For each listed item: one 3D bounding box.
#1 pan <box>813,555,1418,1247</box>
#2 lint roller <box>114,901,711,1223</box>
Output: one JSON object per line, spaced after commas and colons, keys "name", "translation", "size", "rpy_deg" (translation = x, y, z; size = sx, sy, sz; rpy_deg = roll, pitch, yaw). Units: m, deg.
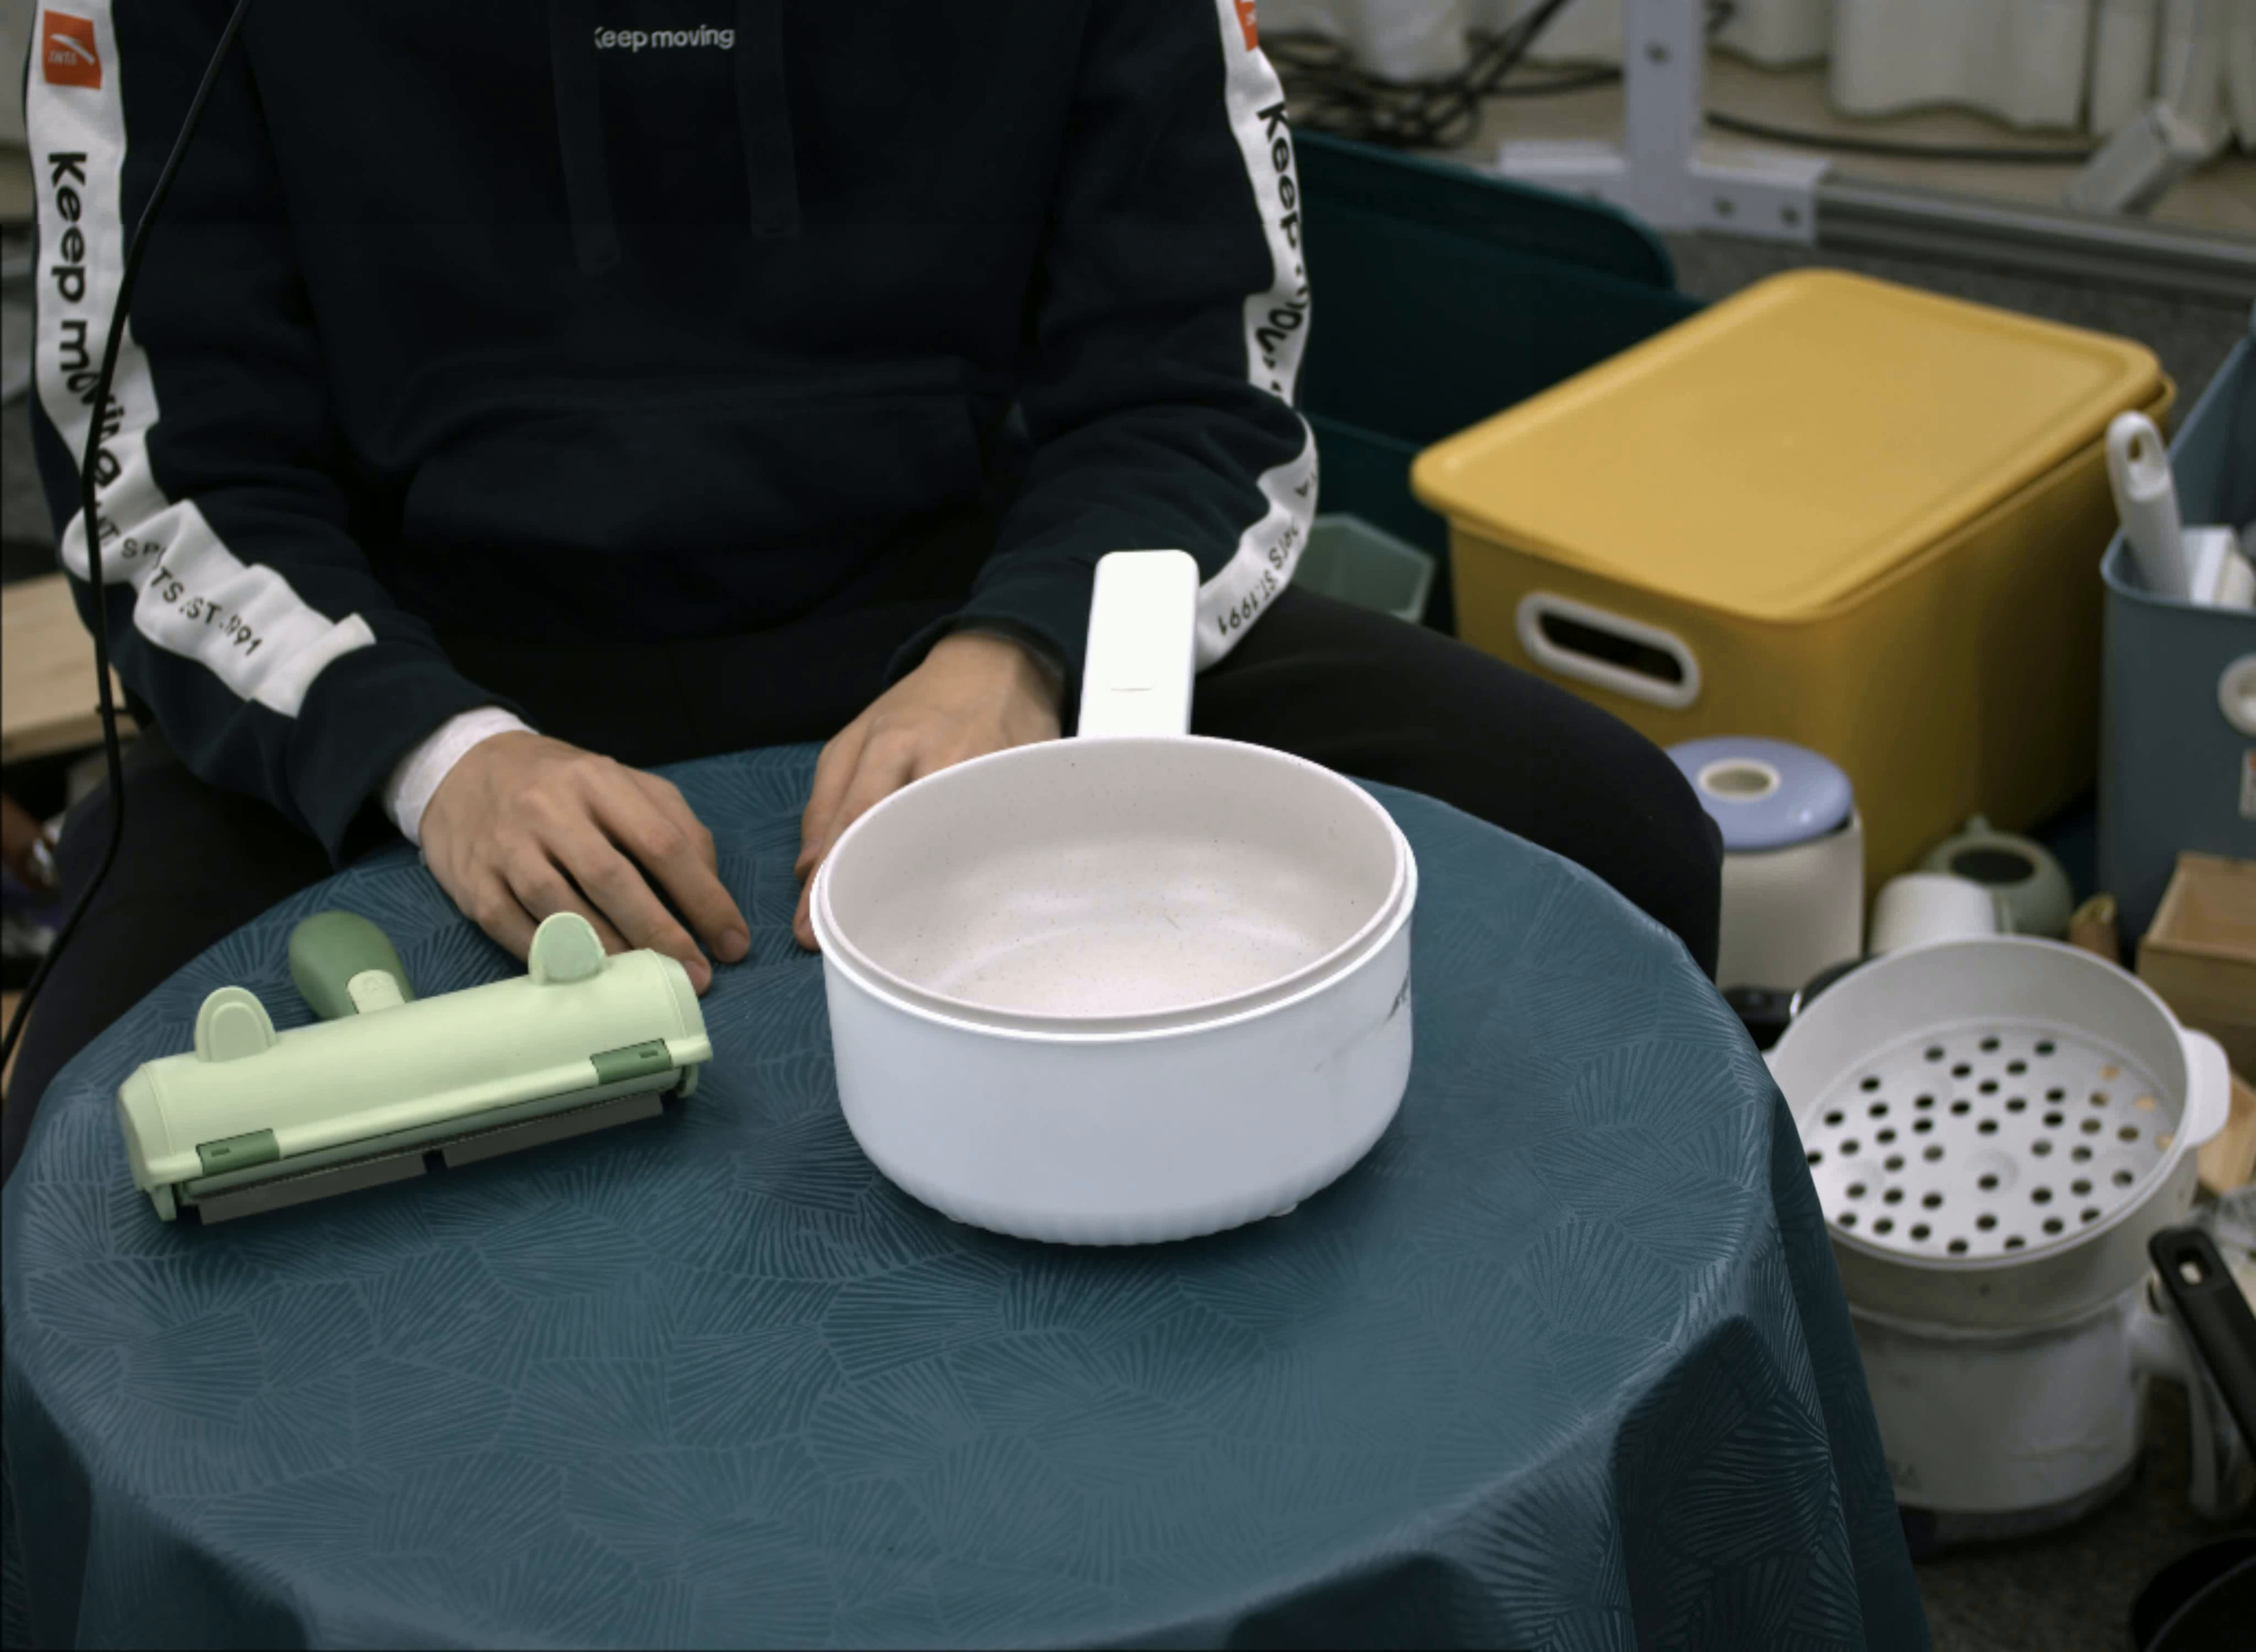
{"name": "pan", "translation": [0.003, 0.023, 1.944], "size": [0.200, 0.101, 0.360], "rpy_deg": [-1, 27, 4]}
{"name": "lint roller", "translation": [-0.261, 0.054, 1.935], "size": [0.199, 0.081, 0.185], "rpy_deg": [-13, 34, -17]}
